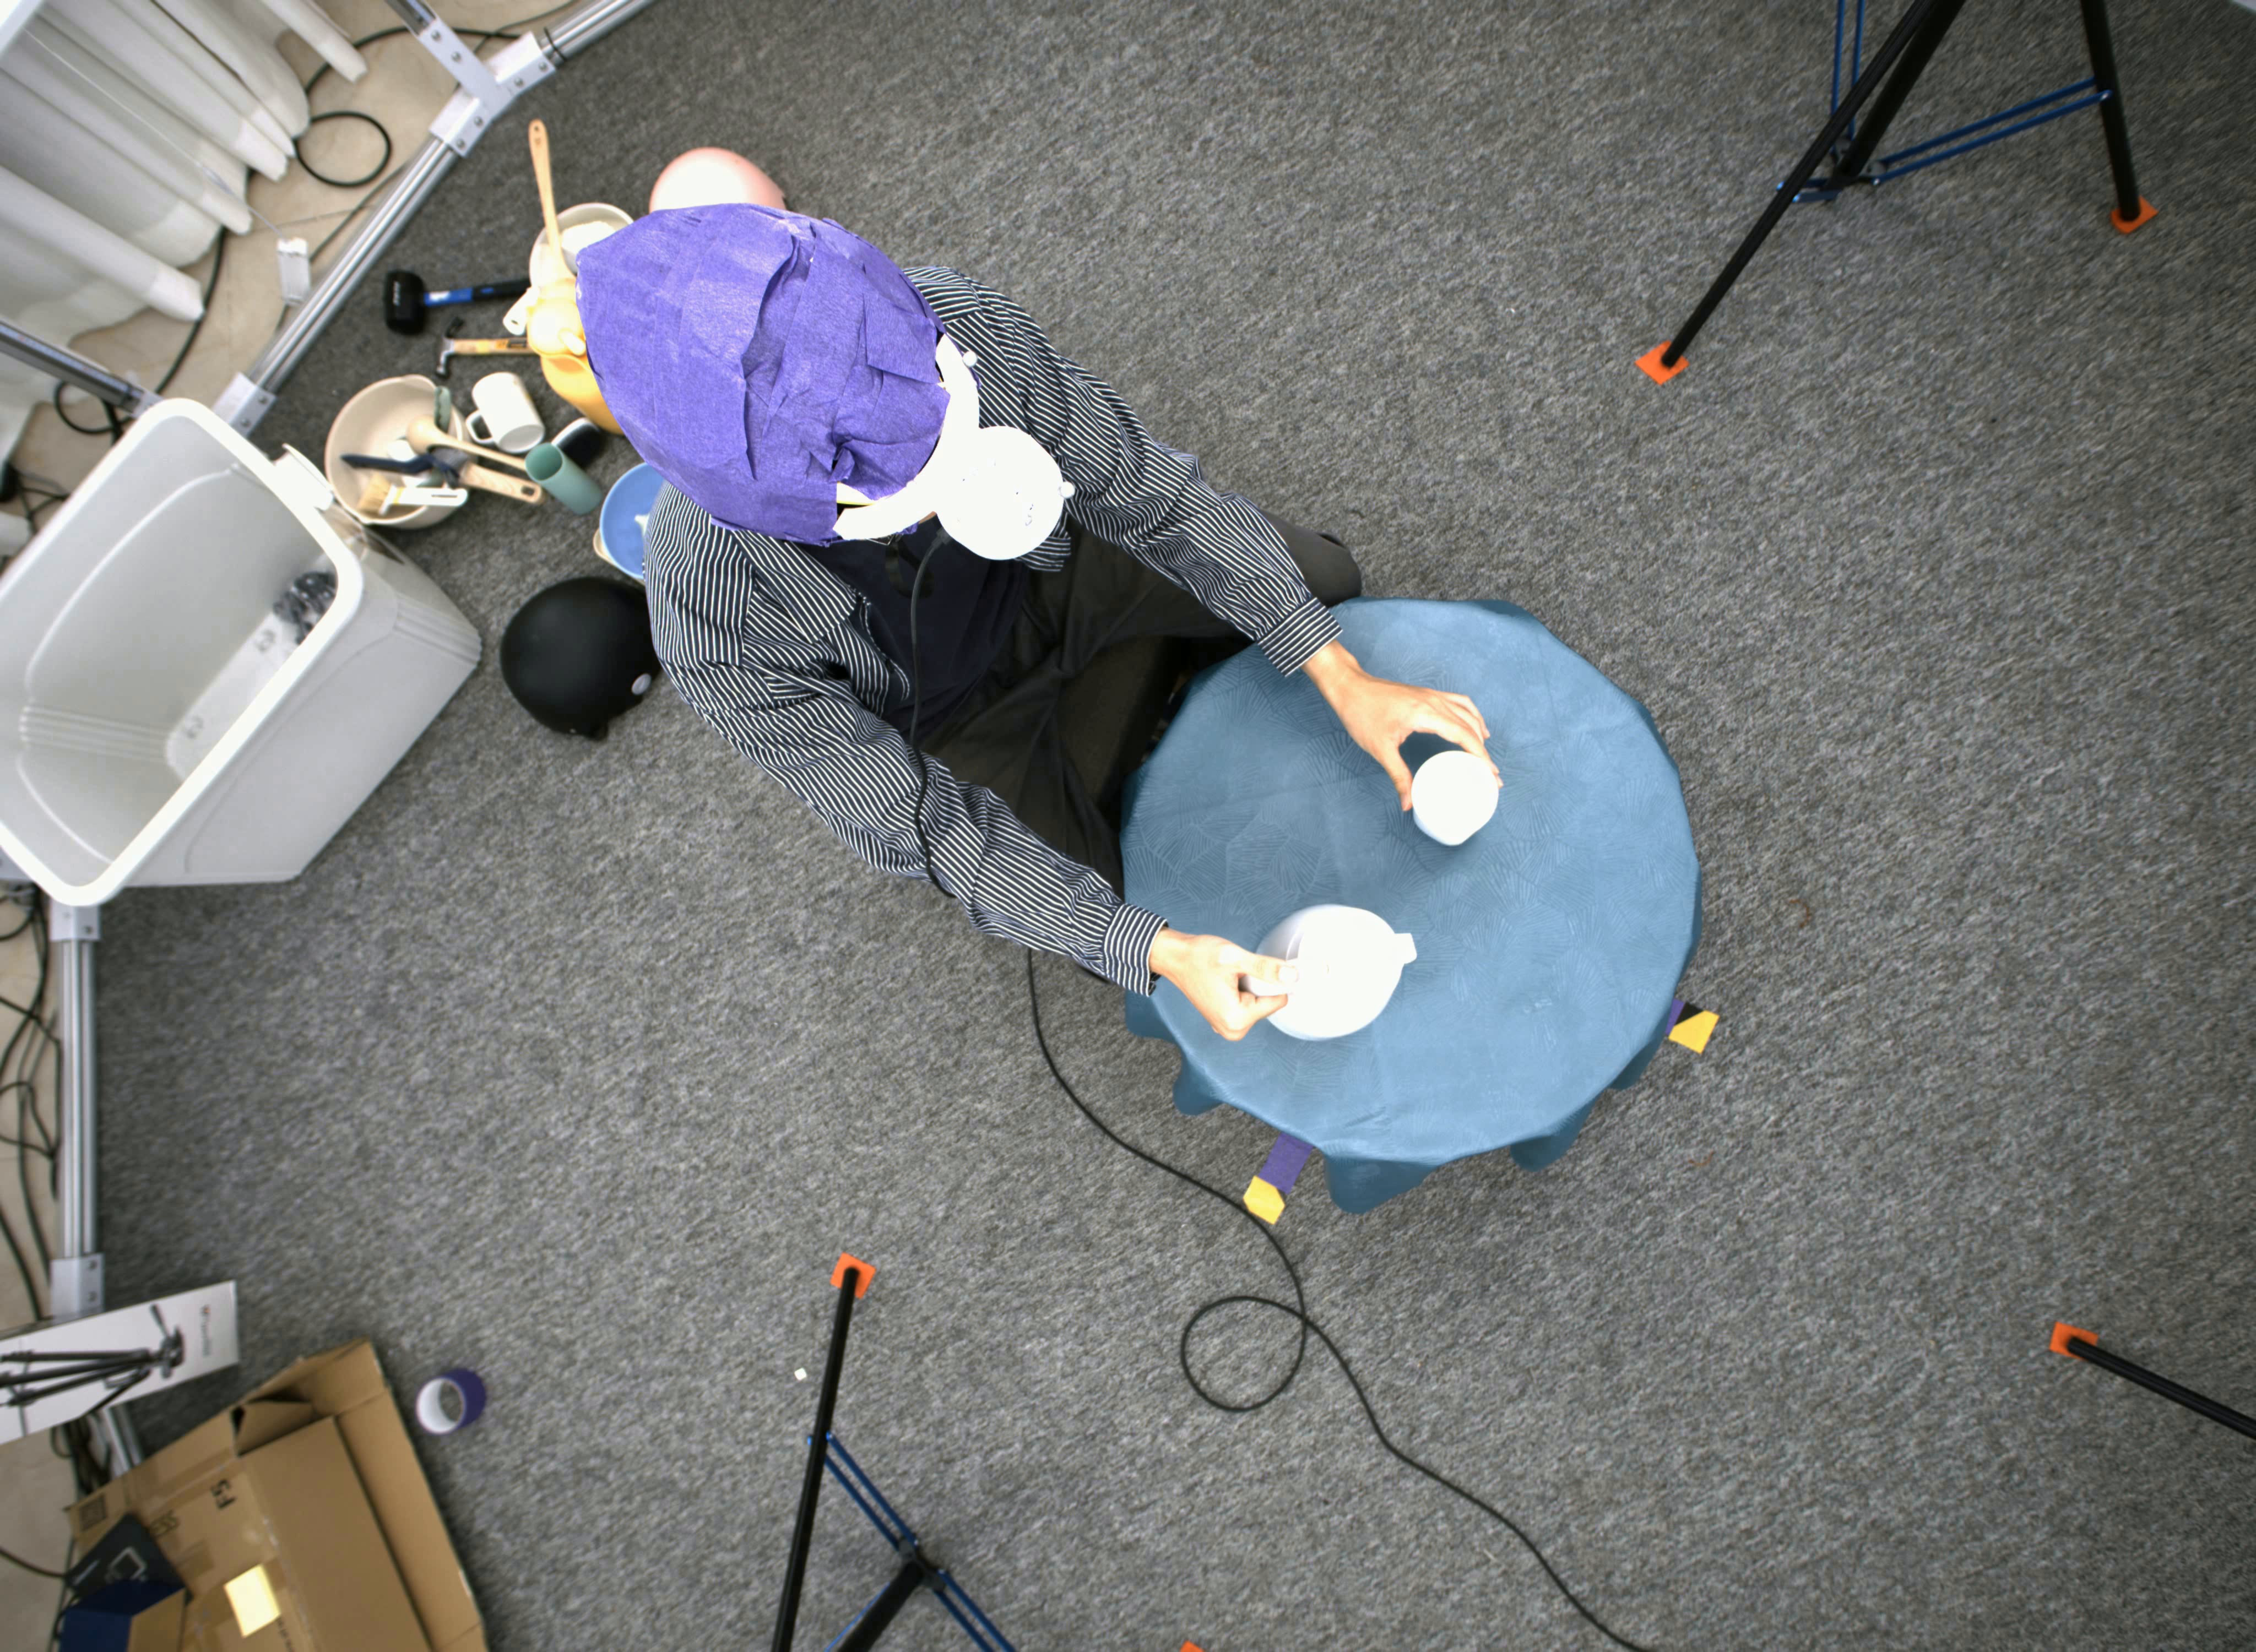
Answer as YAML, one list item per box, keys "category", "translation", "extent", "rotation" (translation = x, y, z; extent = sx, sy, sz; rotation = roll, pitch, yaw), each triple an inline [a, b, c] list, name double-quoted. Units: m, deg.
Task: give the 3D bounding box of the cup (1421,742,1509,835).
- category: "cup"
  translation: [0.329, -0.035, 1.355]
  extent: [0.082, 0.125, 0.081]
  rotation: [-1, 85, 10]

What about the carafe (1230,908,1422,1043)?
- category: "carafe"
  translation: [0.175, 0.147, 1.312]
  extent: [0.167, 0.250, 0.132]
  rotation: [-20, 84, -5]
